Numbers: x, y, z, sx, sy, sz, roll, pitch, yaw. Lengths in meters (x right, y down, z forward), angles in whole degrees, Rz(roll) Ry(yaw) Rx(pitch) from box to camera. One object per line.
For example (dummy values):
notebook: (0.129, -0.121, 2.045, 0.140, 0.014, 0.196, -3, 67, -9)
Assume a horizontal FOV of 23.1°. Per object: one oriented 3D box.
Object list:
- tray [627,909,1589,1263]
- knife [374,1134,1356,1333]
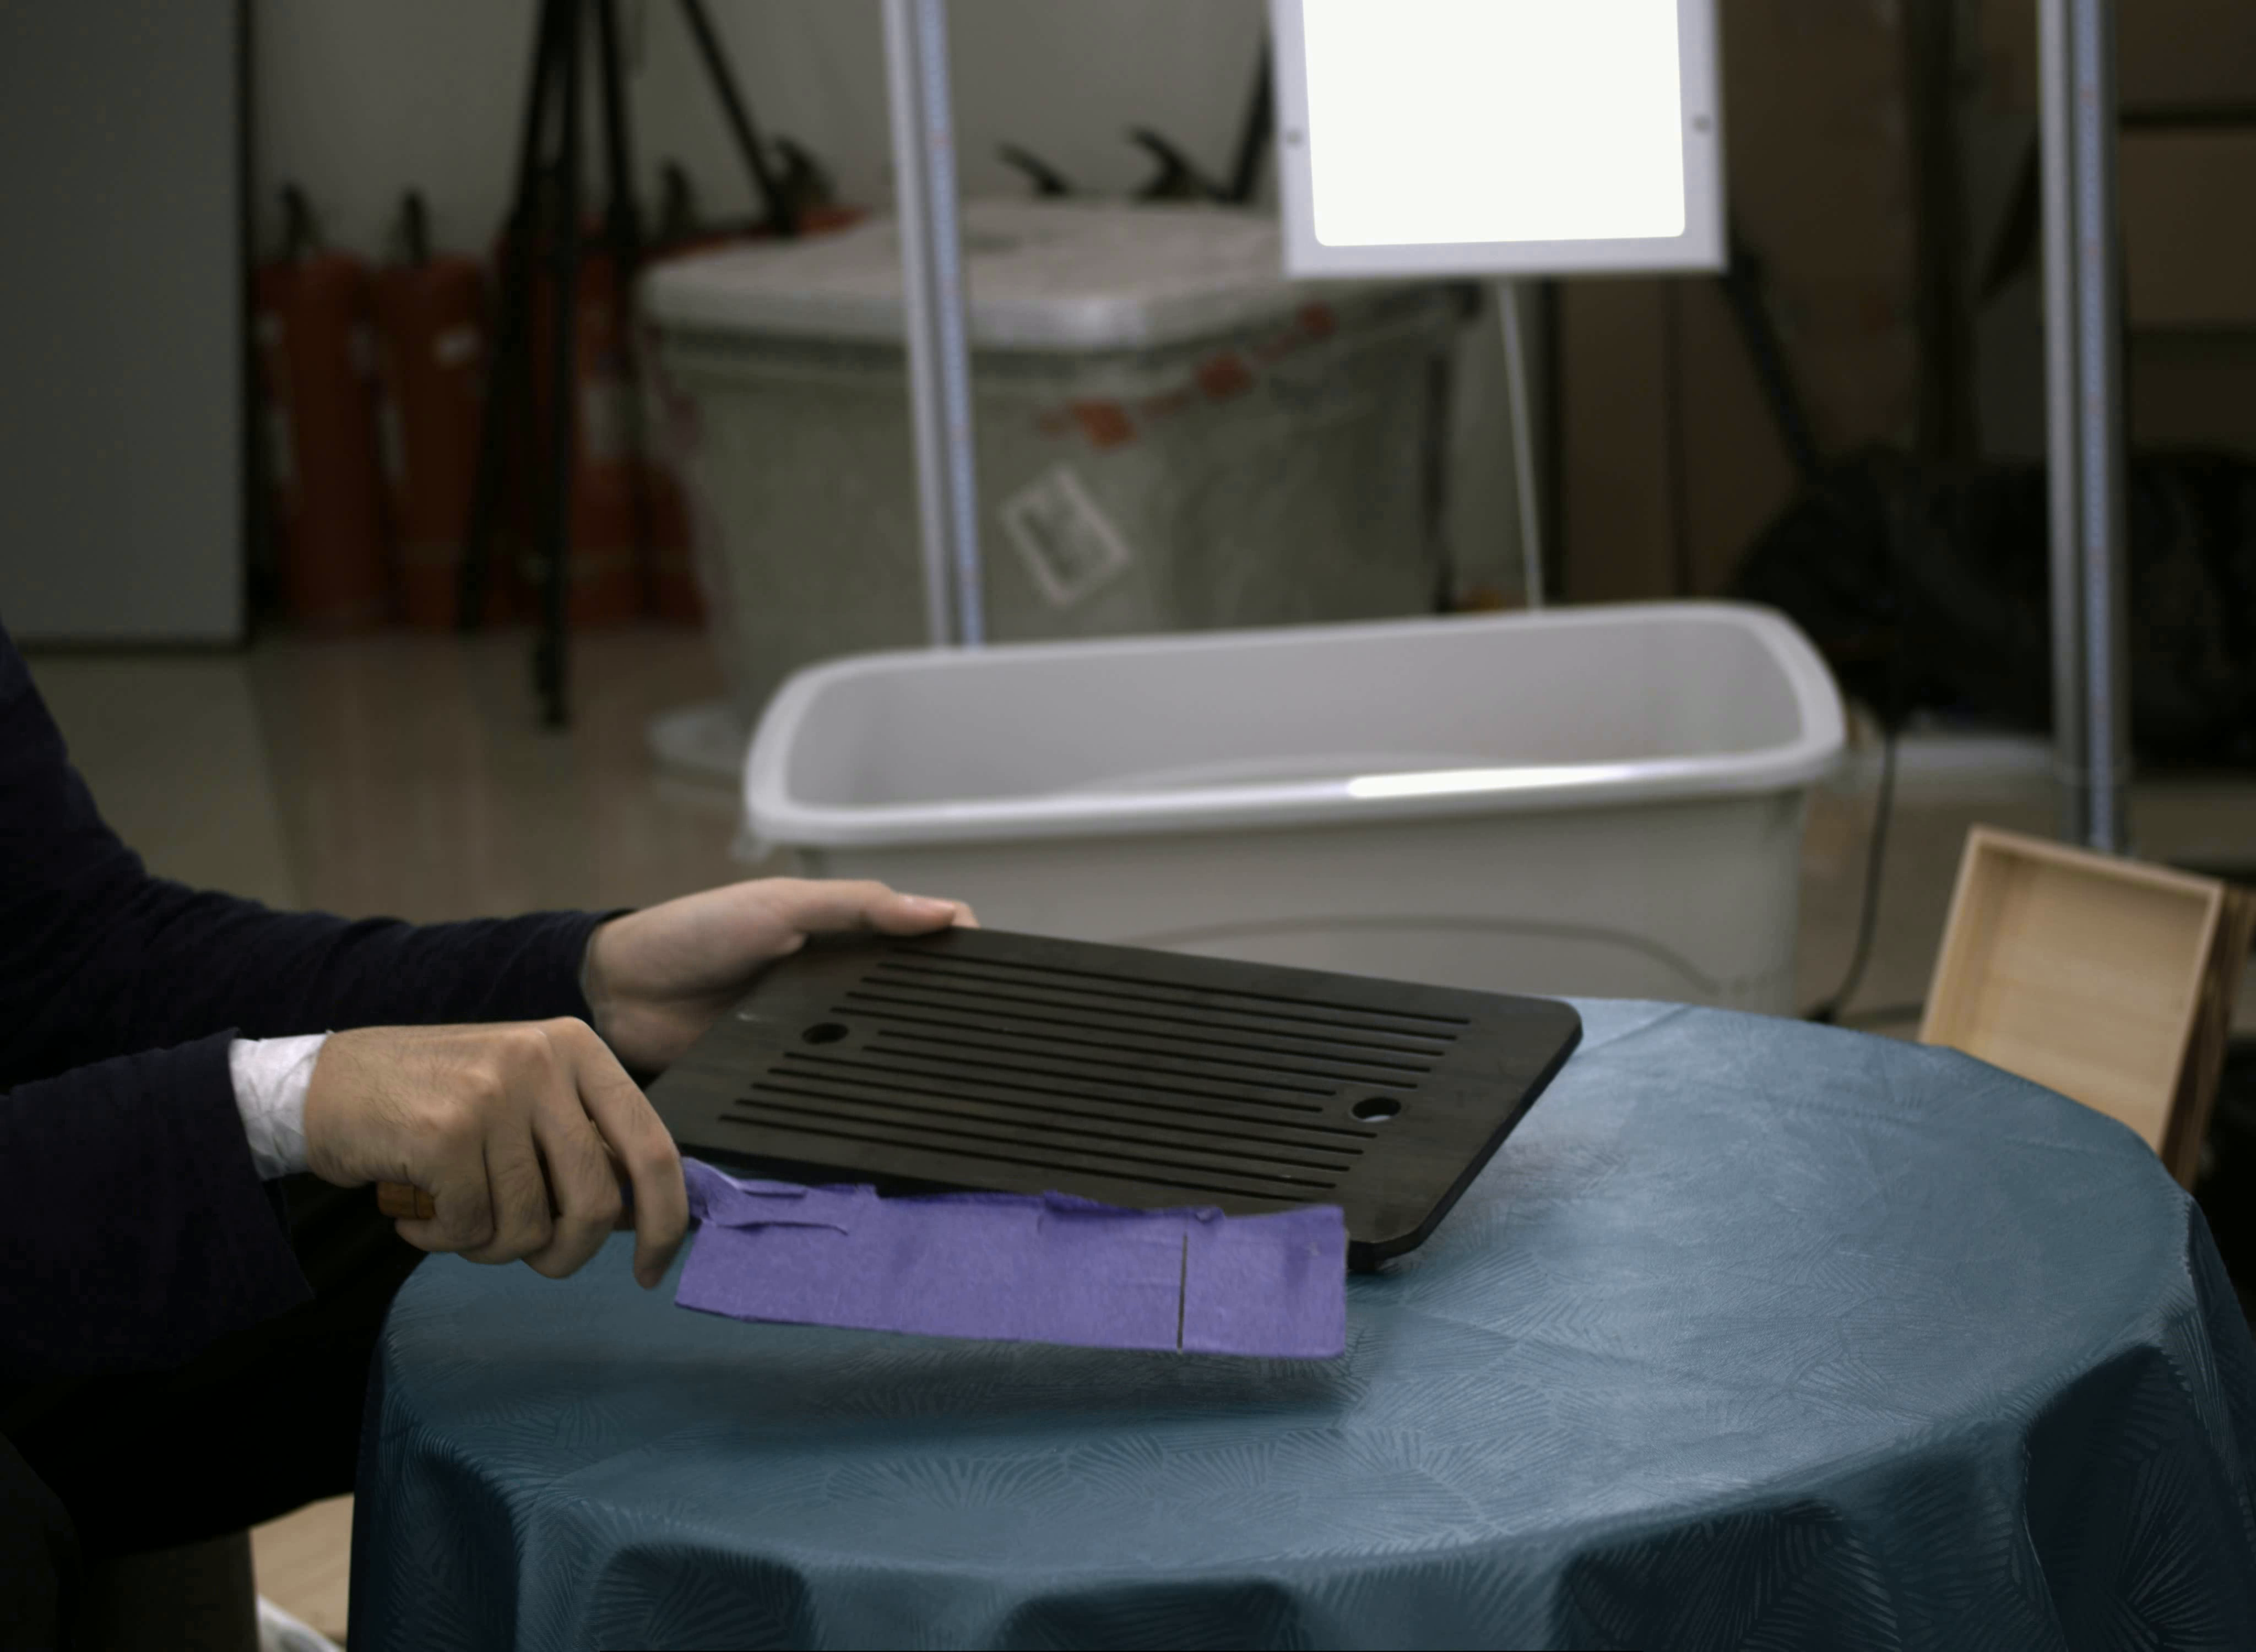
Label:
tray: (-0.007, 0.088, 1.920, 0.311, 0.018, 0.166, 6, 29, 28)
knife: (-0.086, 0.128, 1.728, 0.315, 0.032, 0.103, 1, 22, 5)
